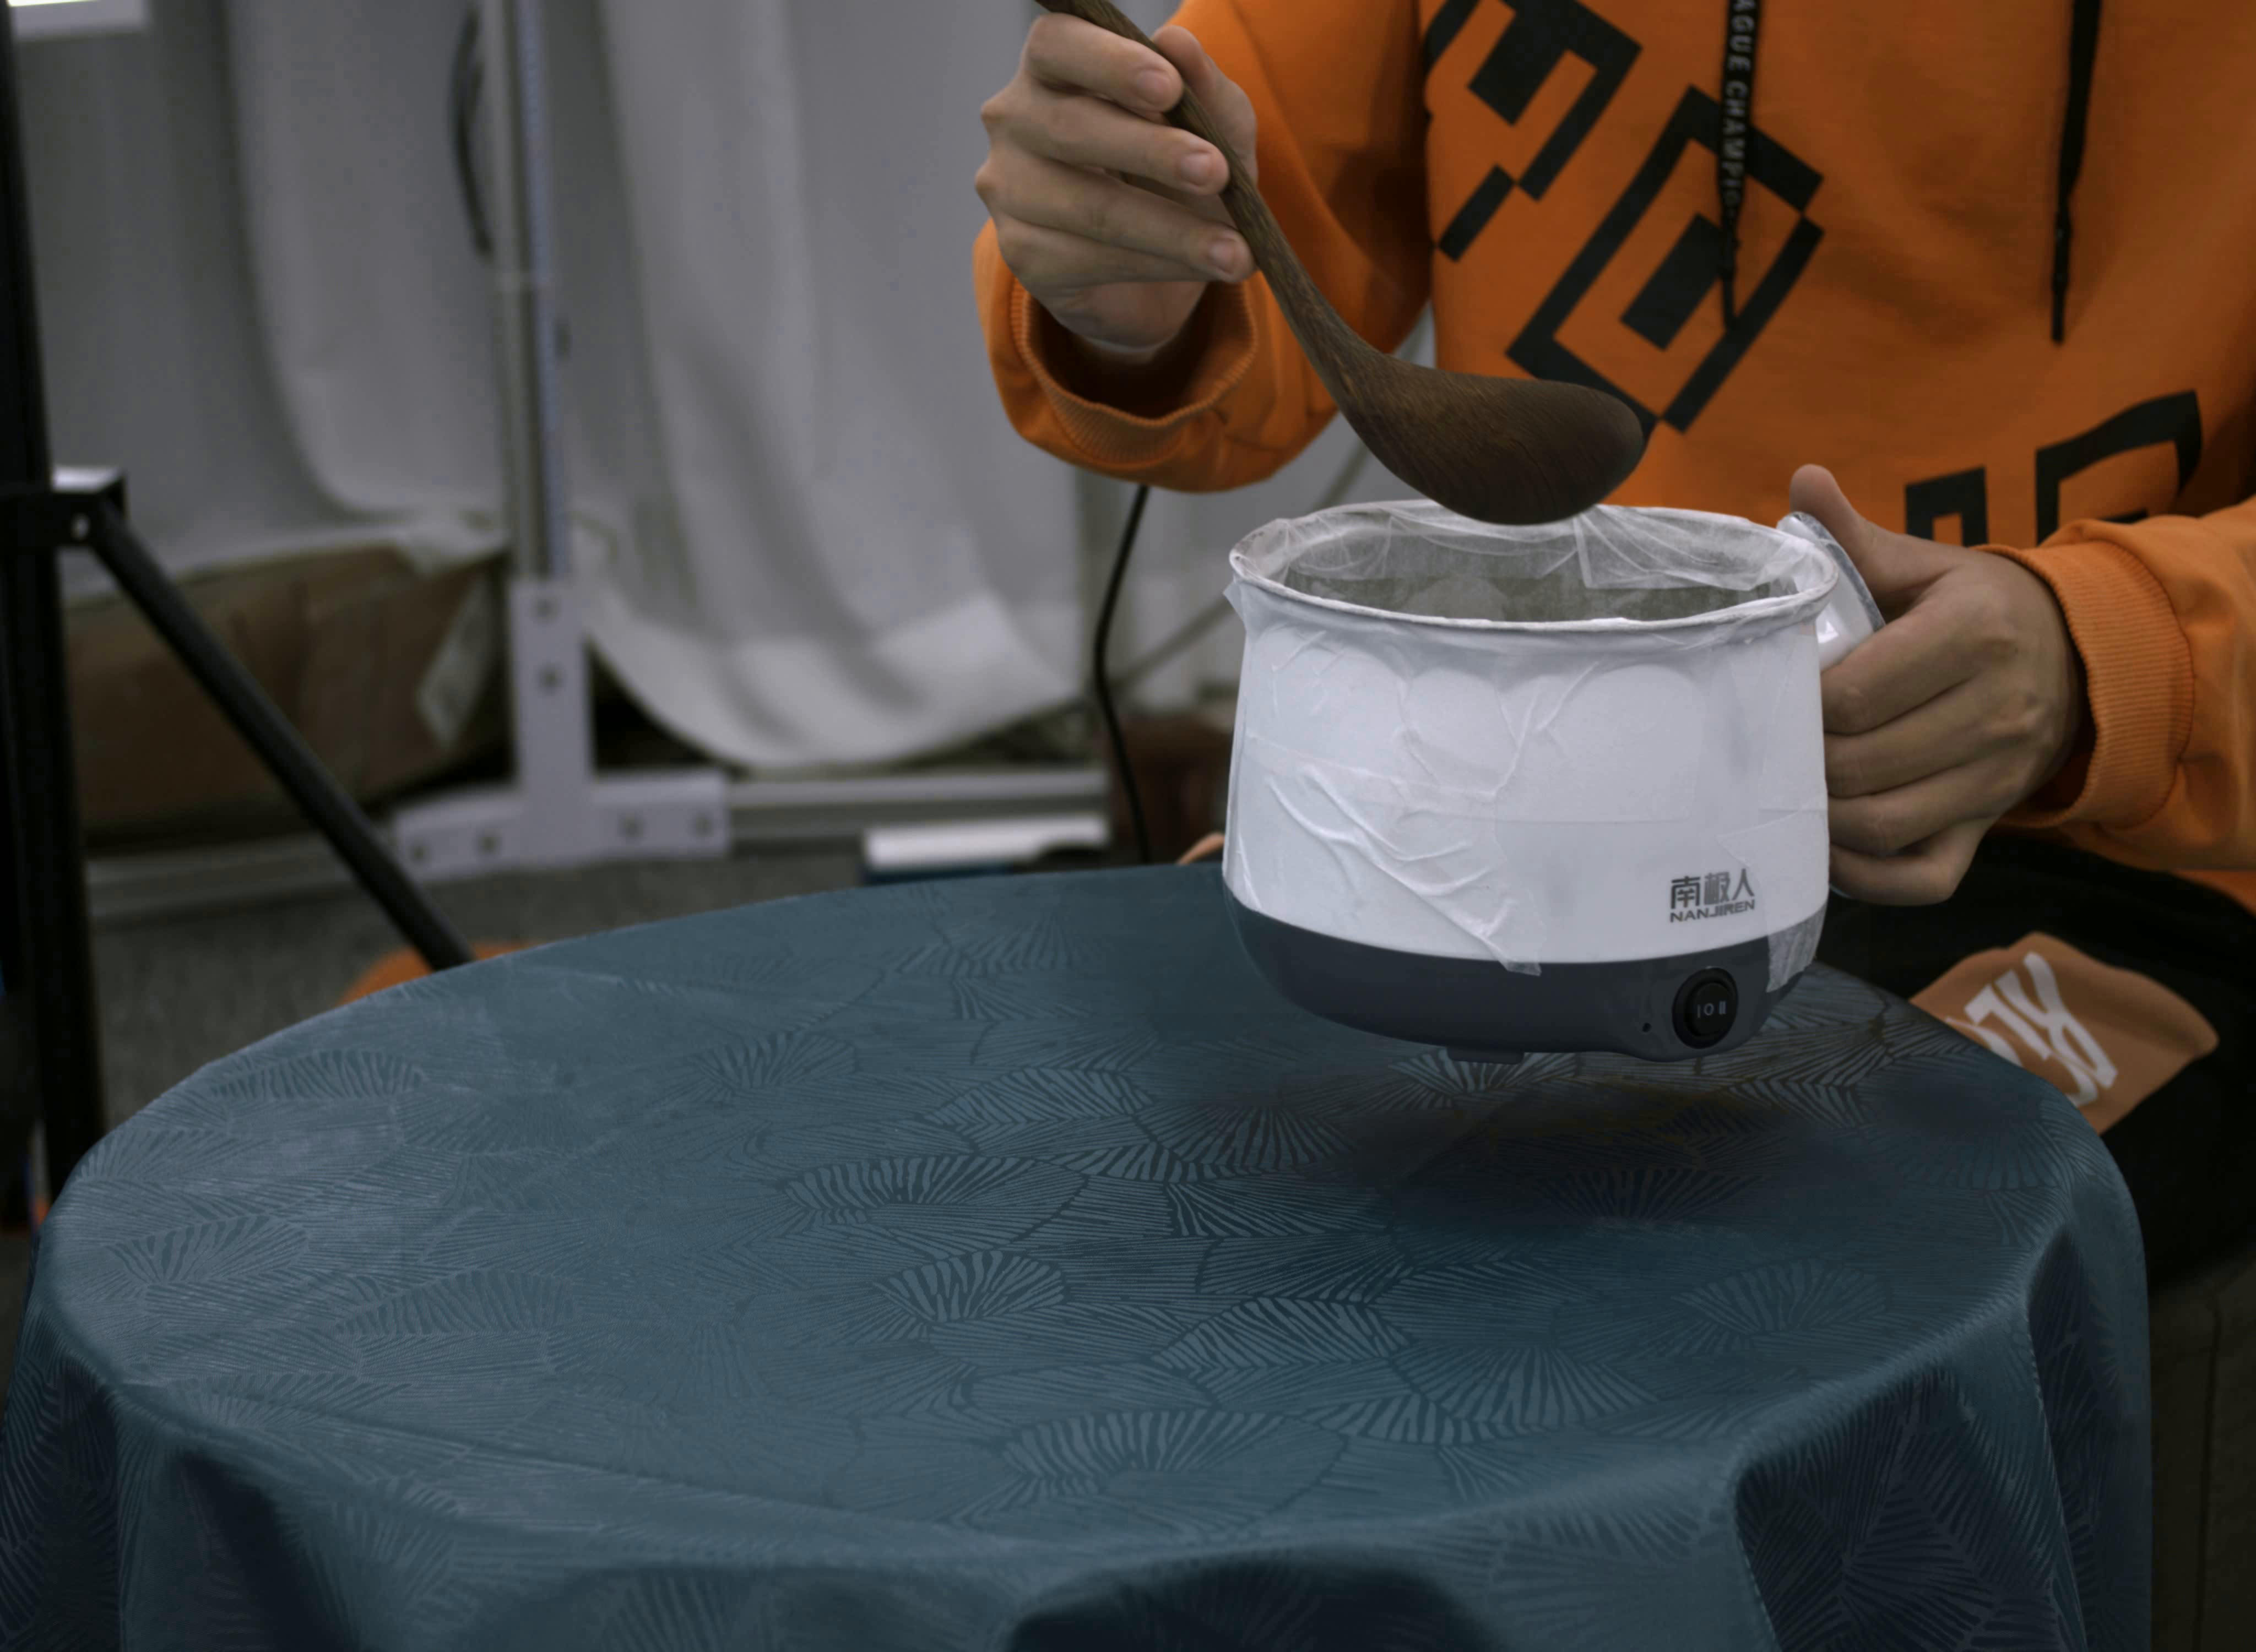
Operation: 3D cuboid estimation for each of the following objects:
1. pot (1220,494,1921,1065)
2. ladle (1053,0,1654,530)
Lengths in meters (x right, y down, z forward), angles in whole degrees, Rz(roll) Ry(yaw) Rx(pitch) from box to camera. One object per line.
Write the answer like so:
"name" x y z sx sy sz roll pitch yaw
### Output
"pot" 0.138 -0.019 1.561 0.228 0.137 0.183 -9 18 -32
"ladle" 0.051 -0.195 1.592 0.070 0.278 0.076 -32 -19 -17
